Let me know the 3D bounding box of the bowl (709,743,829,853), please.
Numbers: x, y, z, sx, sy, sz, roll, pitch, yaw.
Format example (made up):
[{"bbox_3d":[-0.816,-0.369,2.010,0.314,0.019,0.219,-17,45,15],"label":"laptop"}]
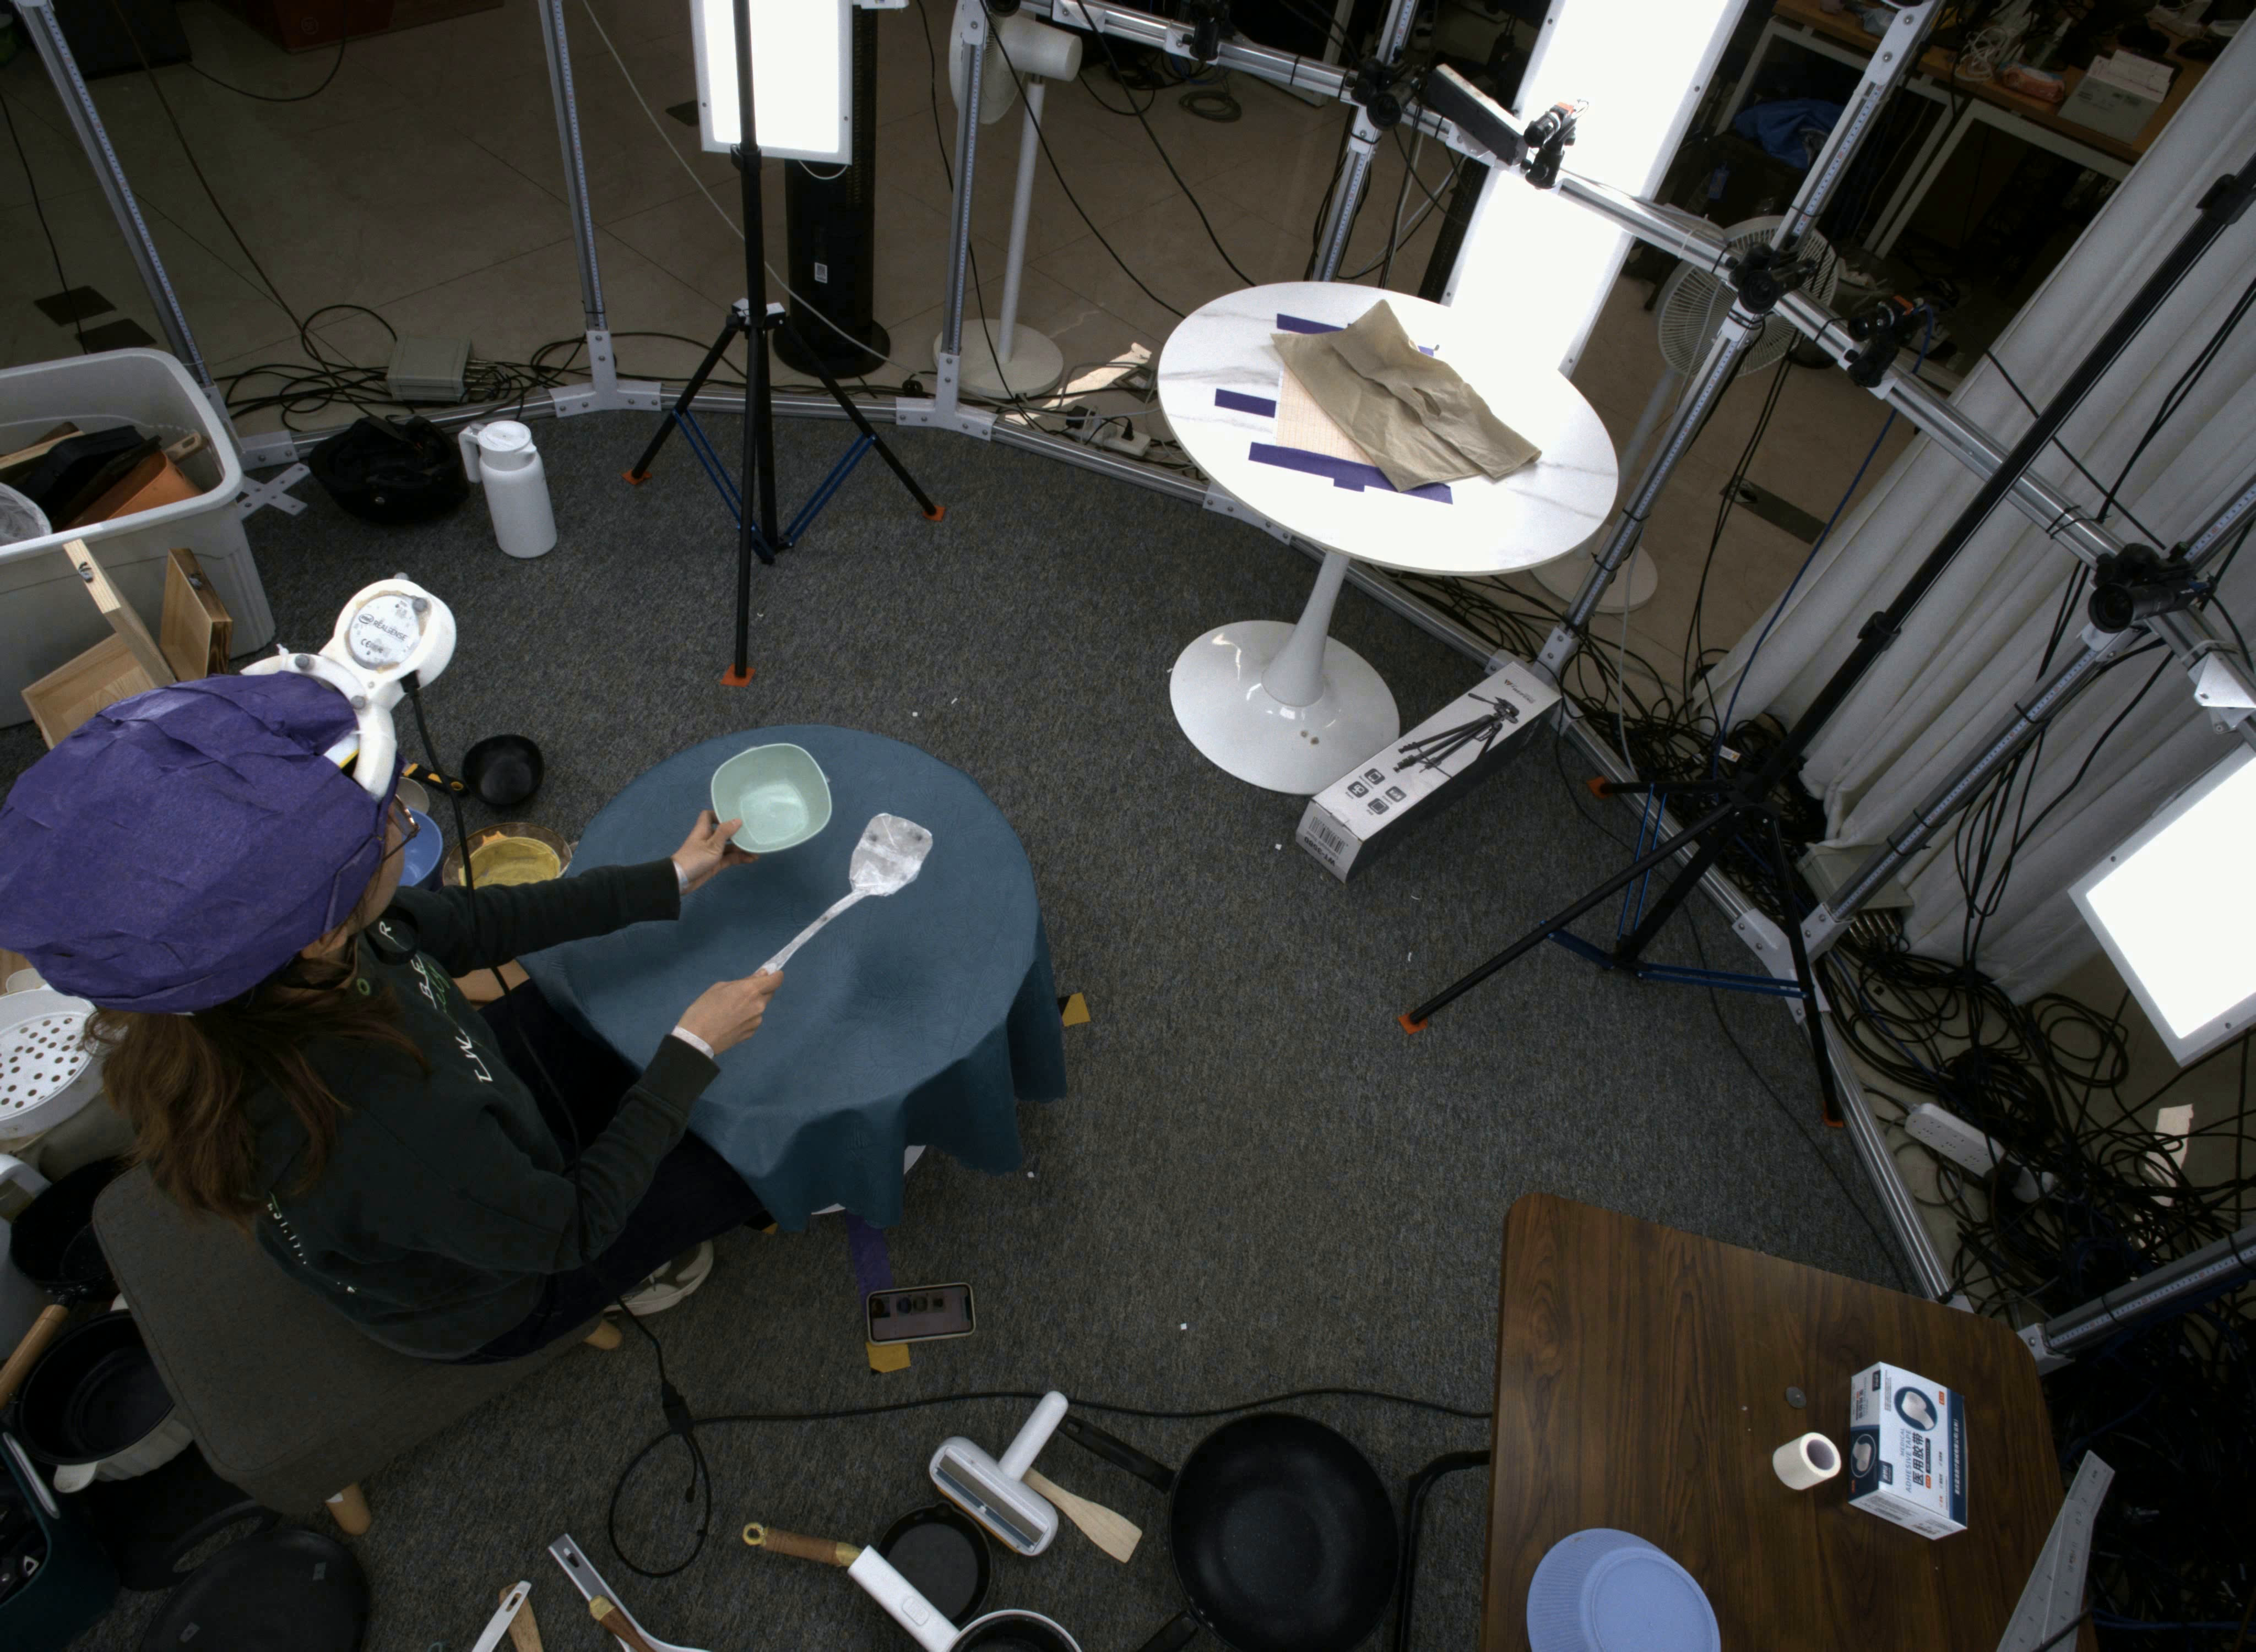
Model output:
[{"bbox_3d":[-0.445,-0.026,1.610,0.151,0.059,0.150,6,66,-11],"label":"bowl"}]

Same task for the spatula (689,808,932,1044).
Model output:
[{"bbox_3d":[-0.363,0.111,1.471,0.095,0.046,0.364,25,52,25],"label":"spatula"}]
